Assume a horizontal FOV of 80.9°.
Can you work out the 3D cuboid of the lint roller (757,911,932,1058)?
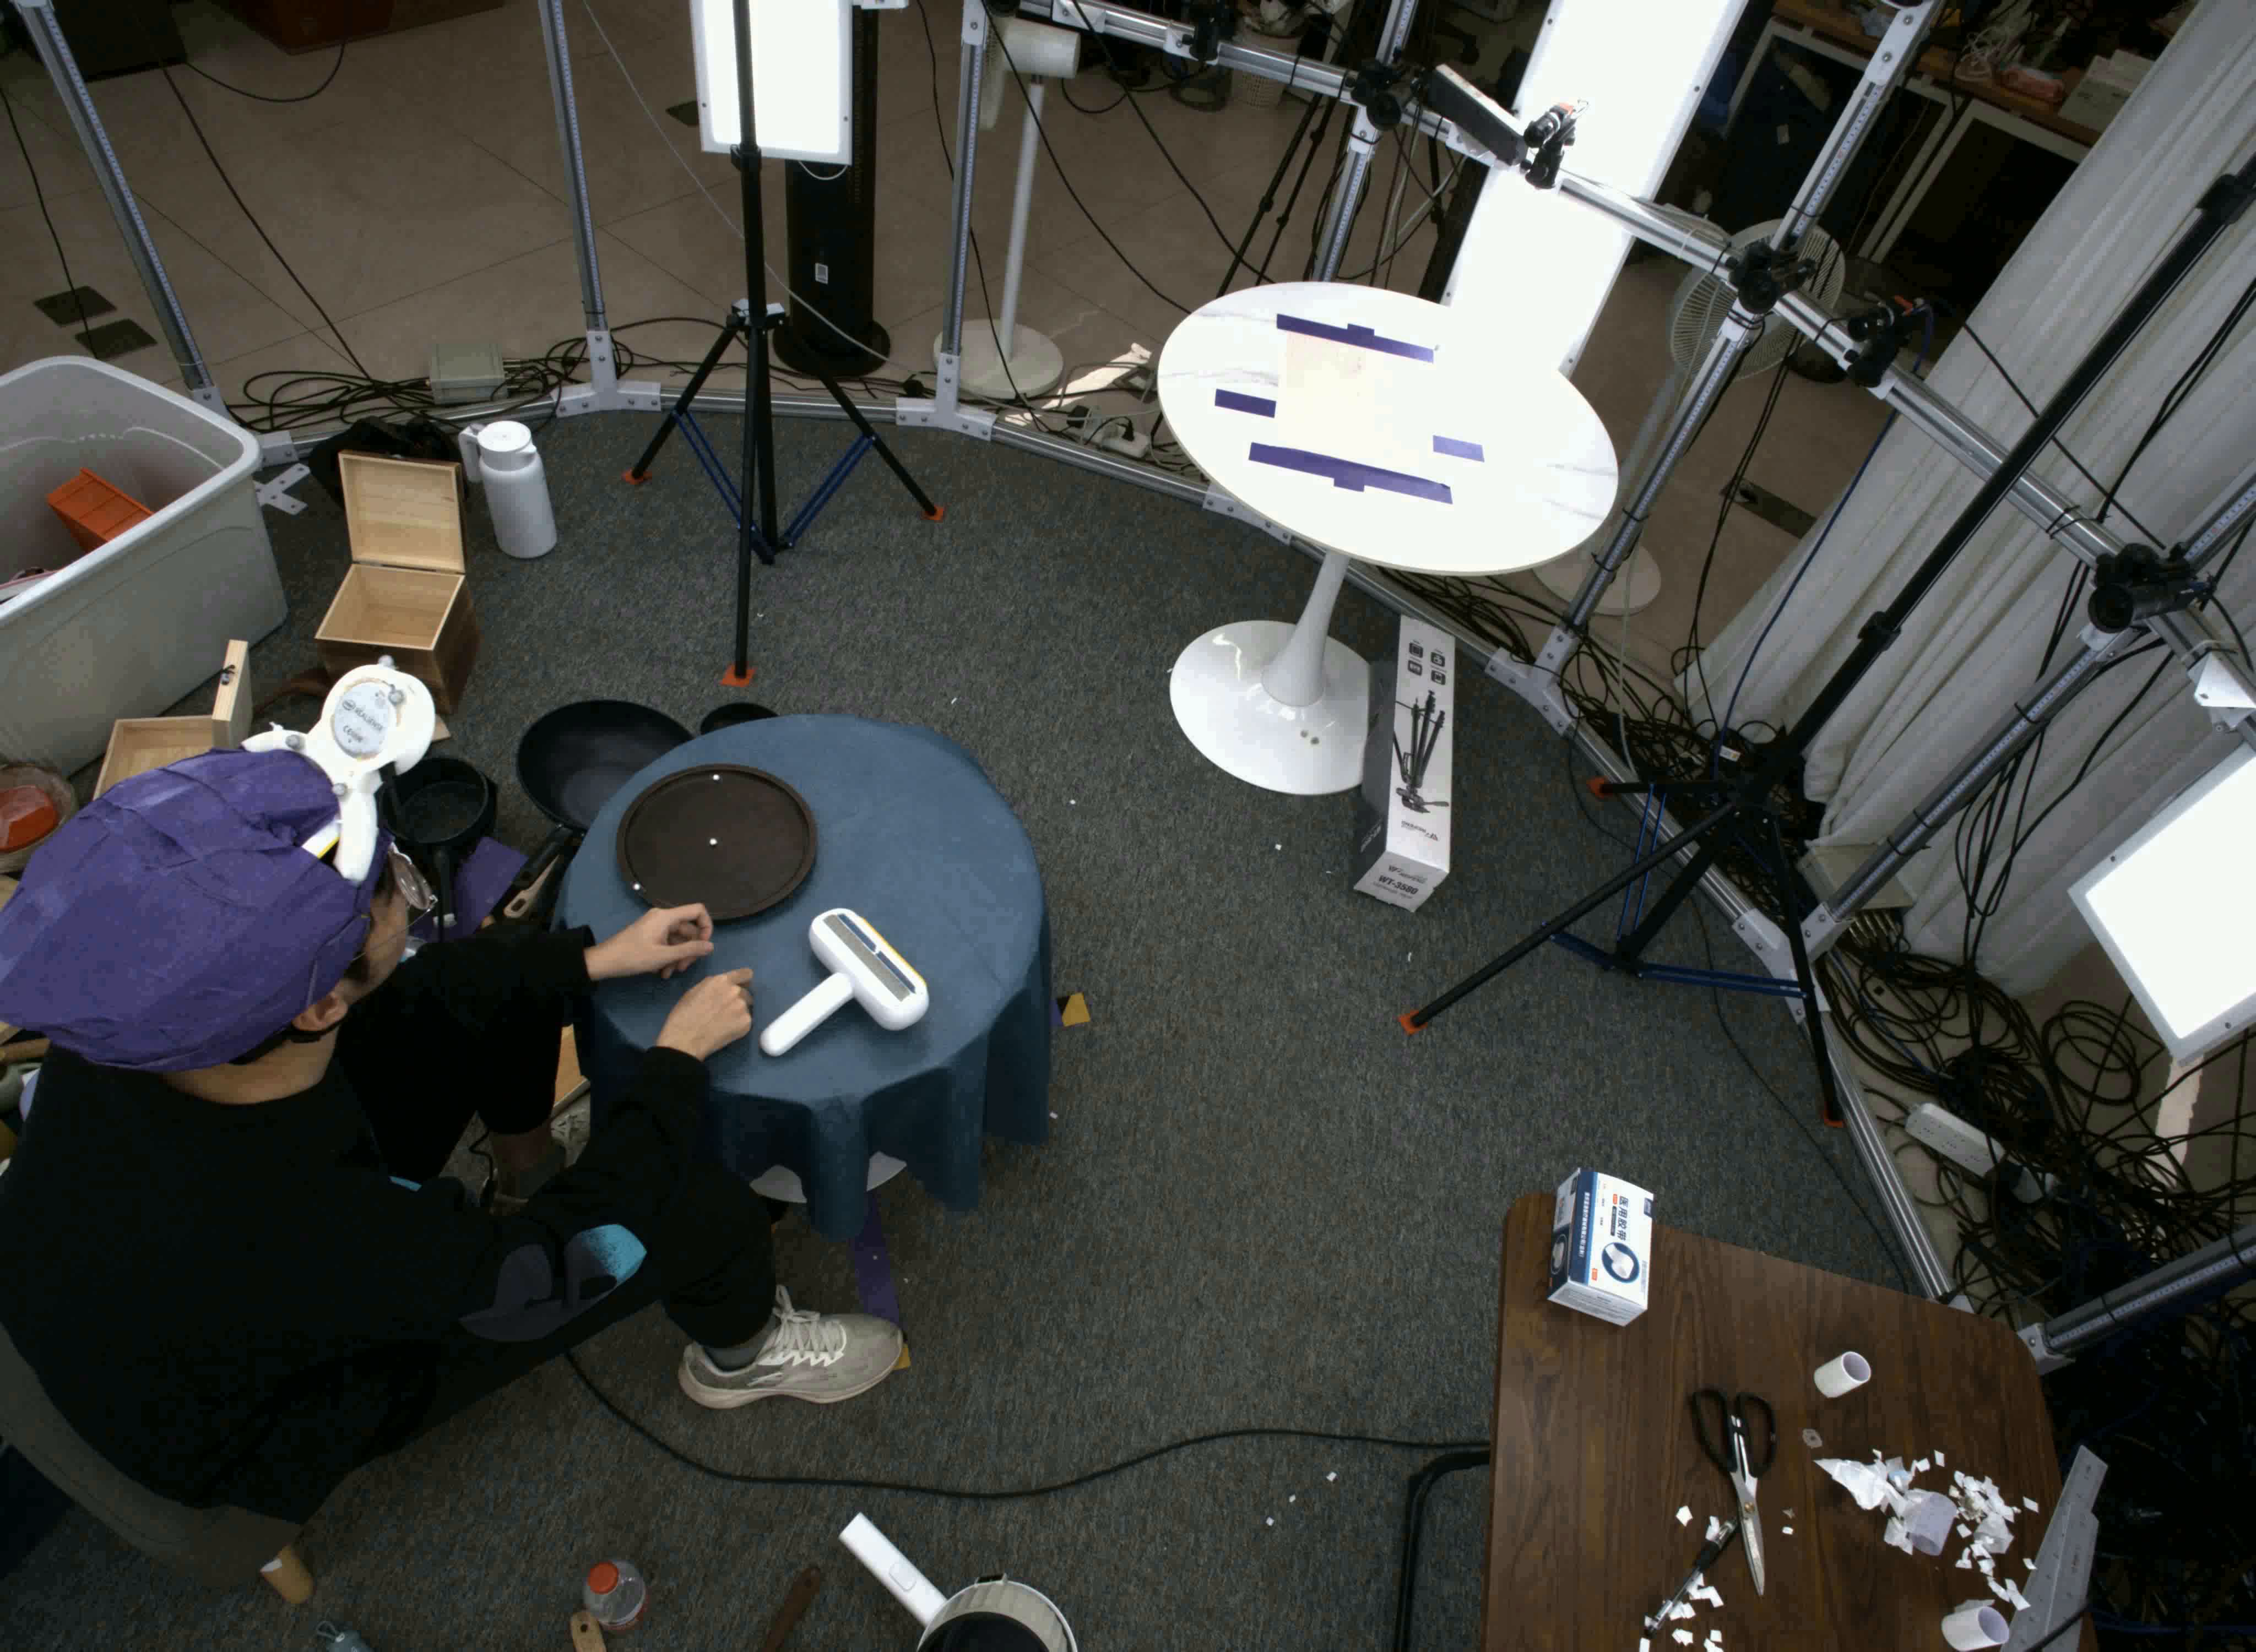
[{"bbox_3d":[-0.357,0.205,1.553,0.193,0.076,0.187,-29,60,-29],"label":"lint roller"}]

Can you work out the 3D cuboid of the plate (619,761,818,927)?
[{"bbox_3d":[-0.530,0.022,1.671,0.254,0.029,0.250,8,54,-9],"label":"plate"}]
